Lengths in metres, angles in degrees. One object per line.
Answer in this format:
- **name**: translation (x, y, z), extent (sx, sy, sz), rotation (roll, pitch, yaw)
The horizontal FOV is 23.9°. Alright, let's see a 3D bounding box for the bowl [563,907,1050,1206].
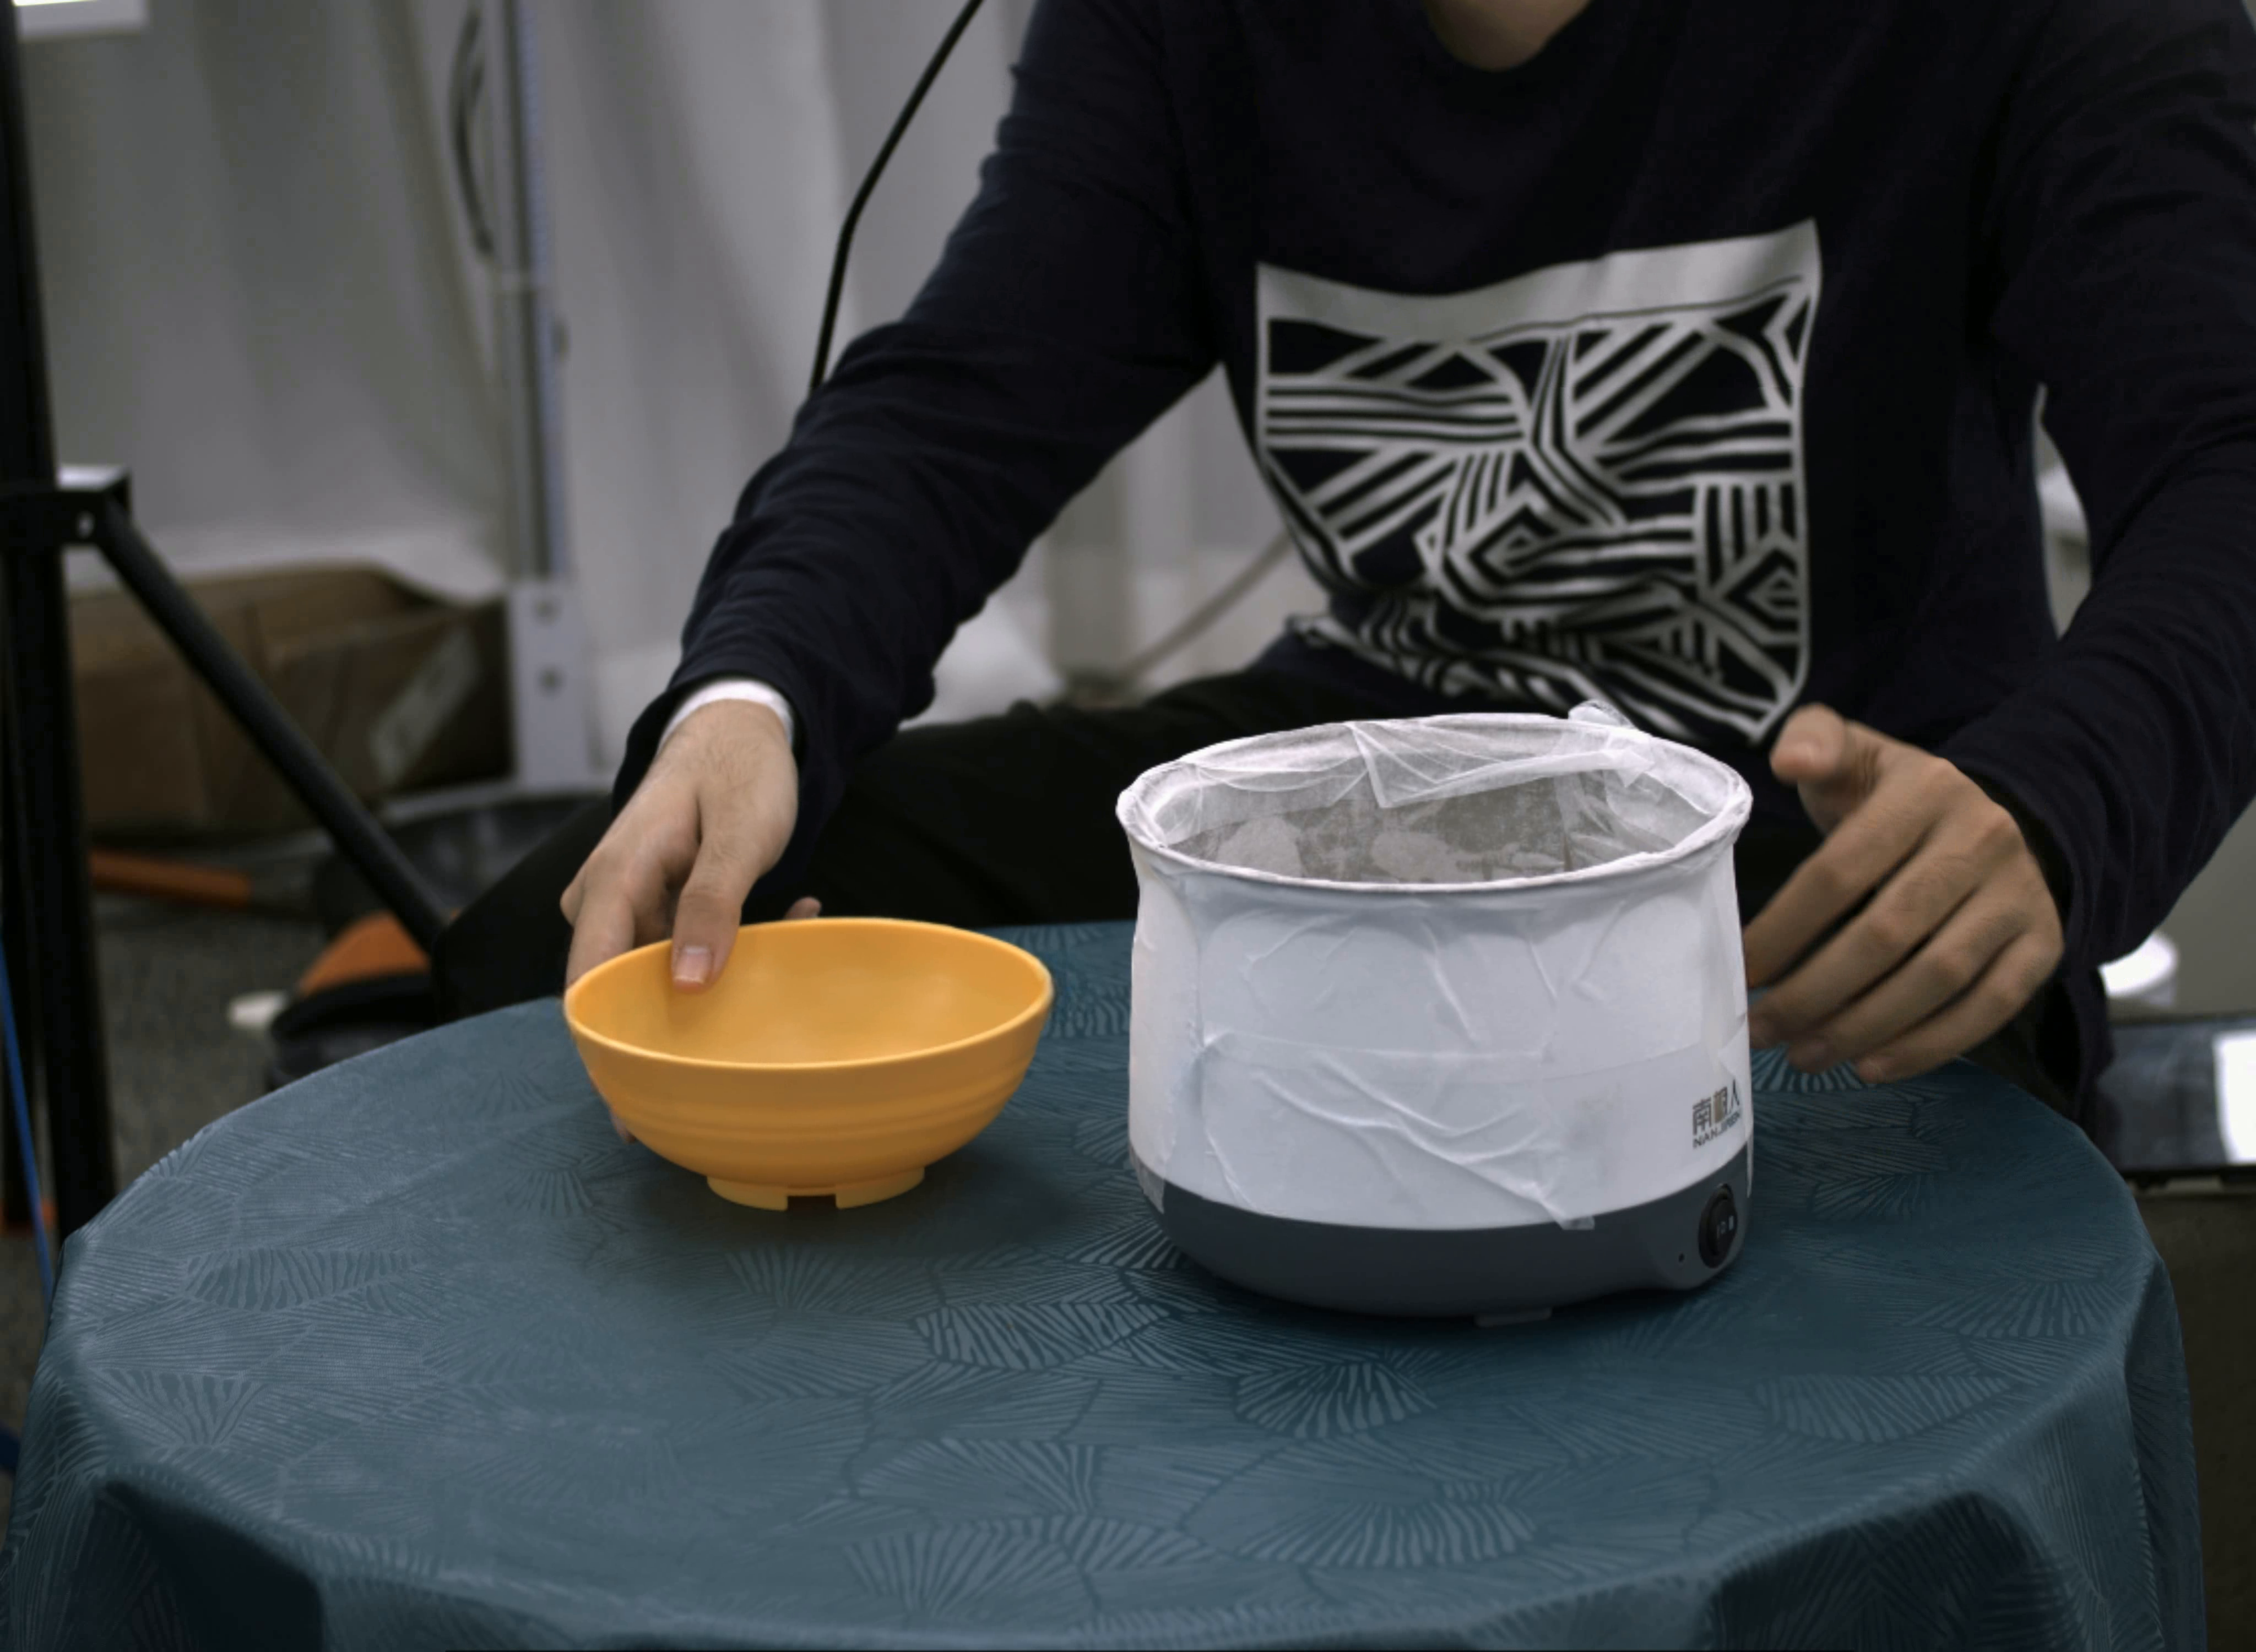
- **bowl**: translation (-0.094, 0.074, 1.583), extent (0.144, 0.060, 0.146), rotation (-2, 17, -1)

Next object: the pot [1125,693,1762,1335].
- **pot**: translation (0.101, 0.046, 1.513), extent (0.182, 0.136, 0.229), rotation (10, 20, 29)
